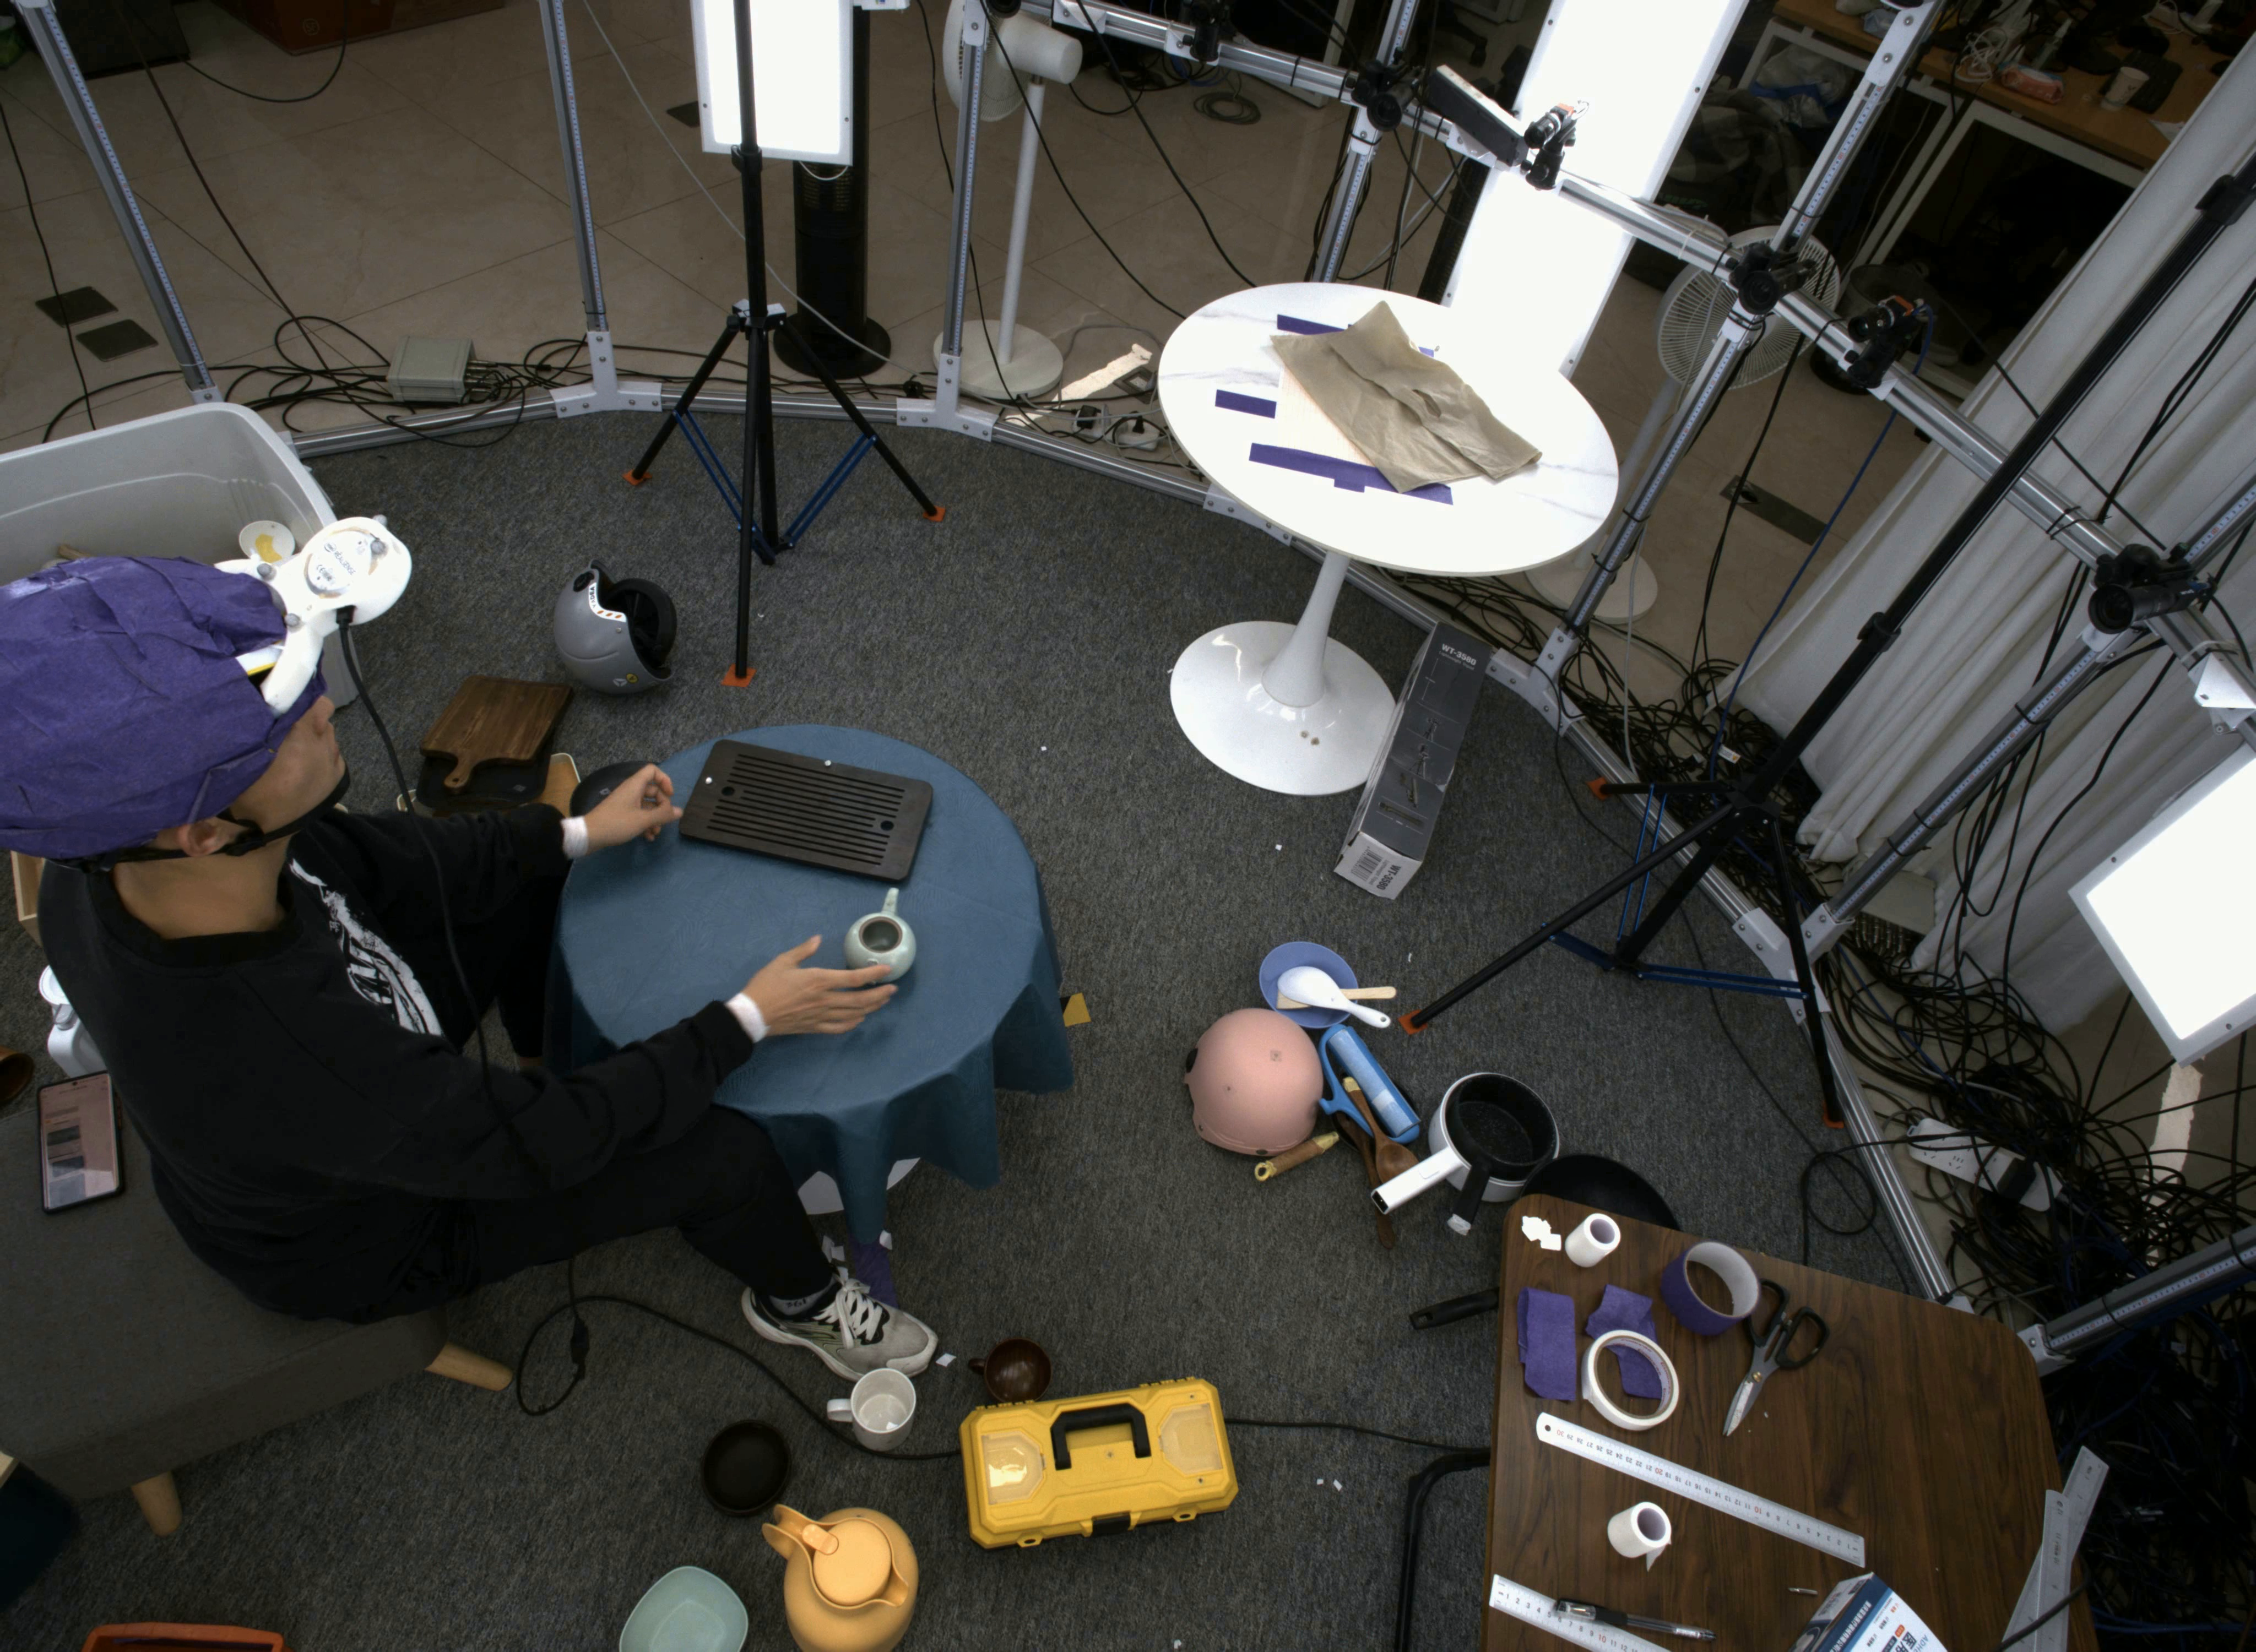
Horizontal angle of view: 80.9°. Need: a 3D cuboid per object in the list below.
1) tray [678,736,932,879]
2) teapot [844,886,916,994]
[{"bbox_3d":[-0.426,-0.025,1.728,0.304,0.019,0.167,12,52,-5],"label":"tray"},{"bbox_3d":[-0.305,0.146,1.596,0.088,0.076,0.142,13,50,-3],"label":"teapot"}]
